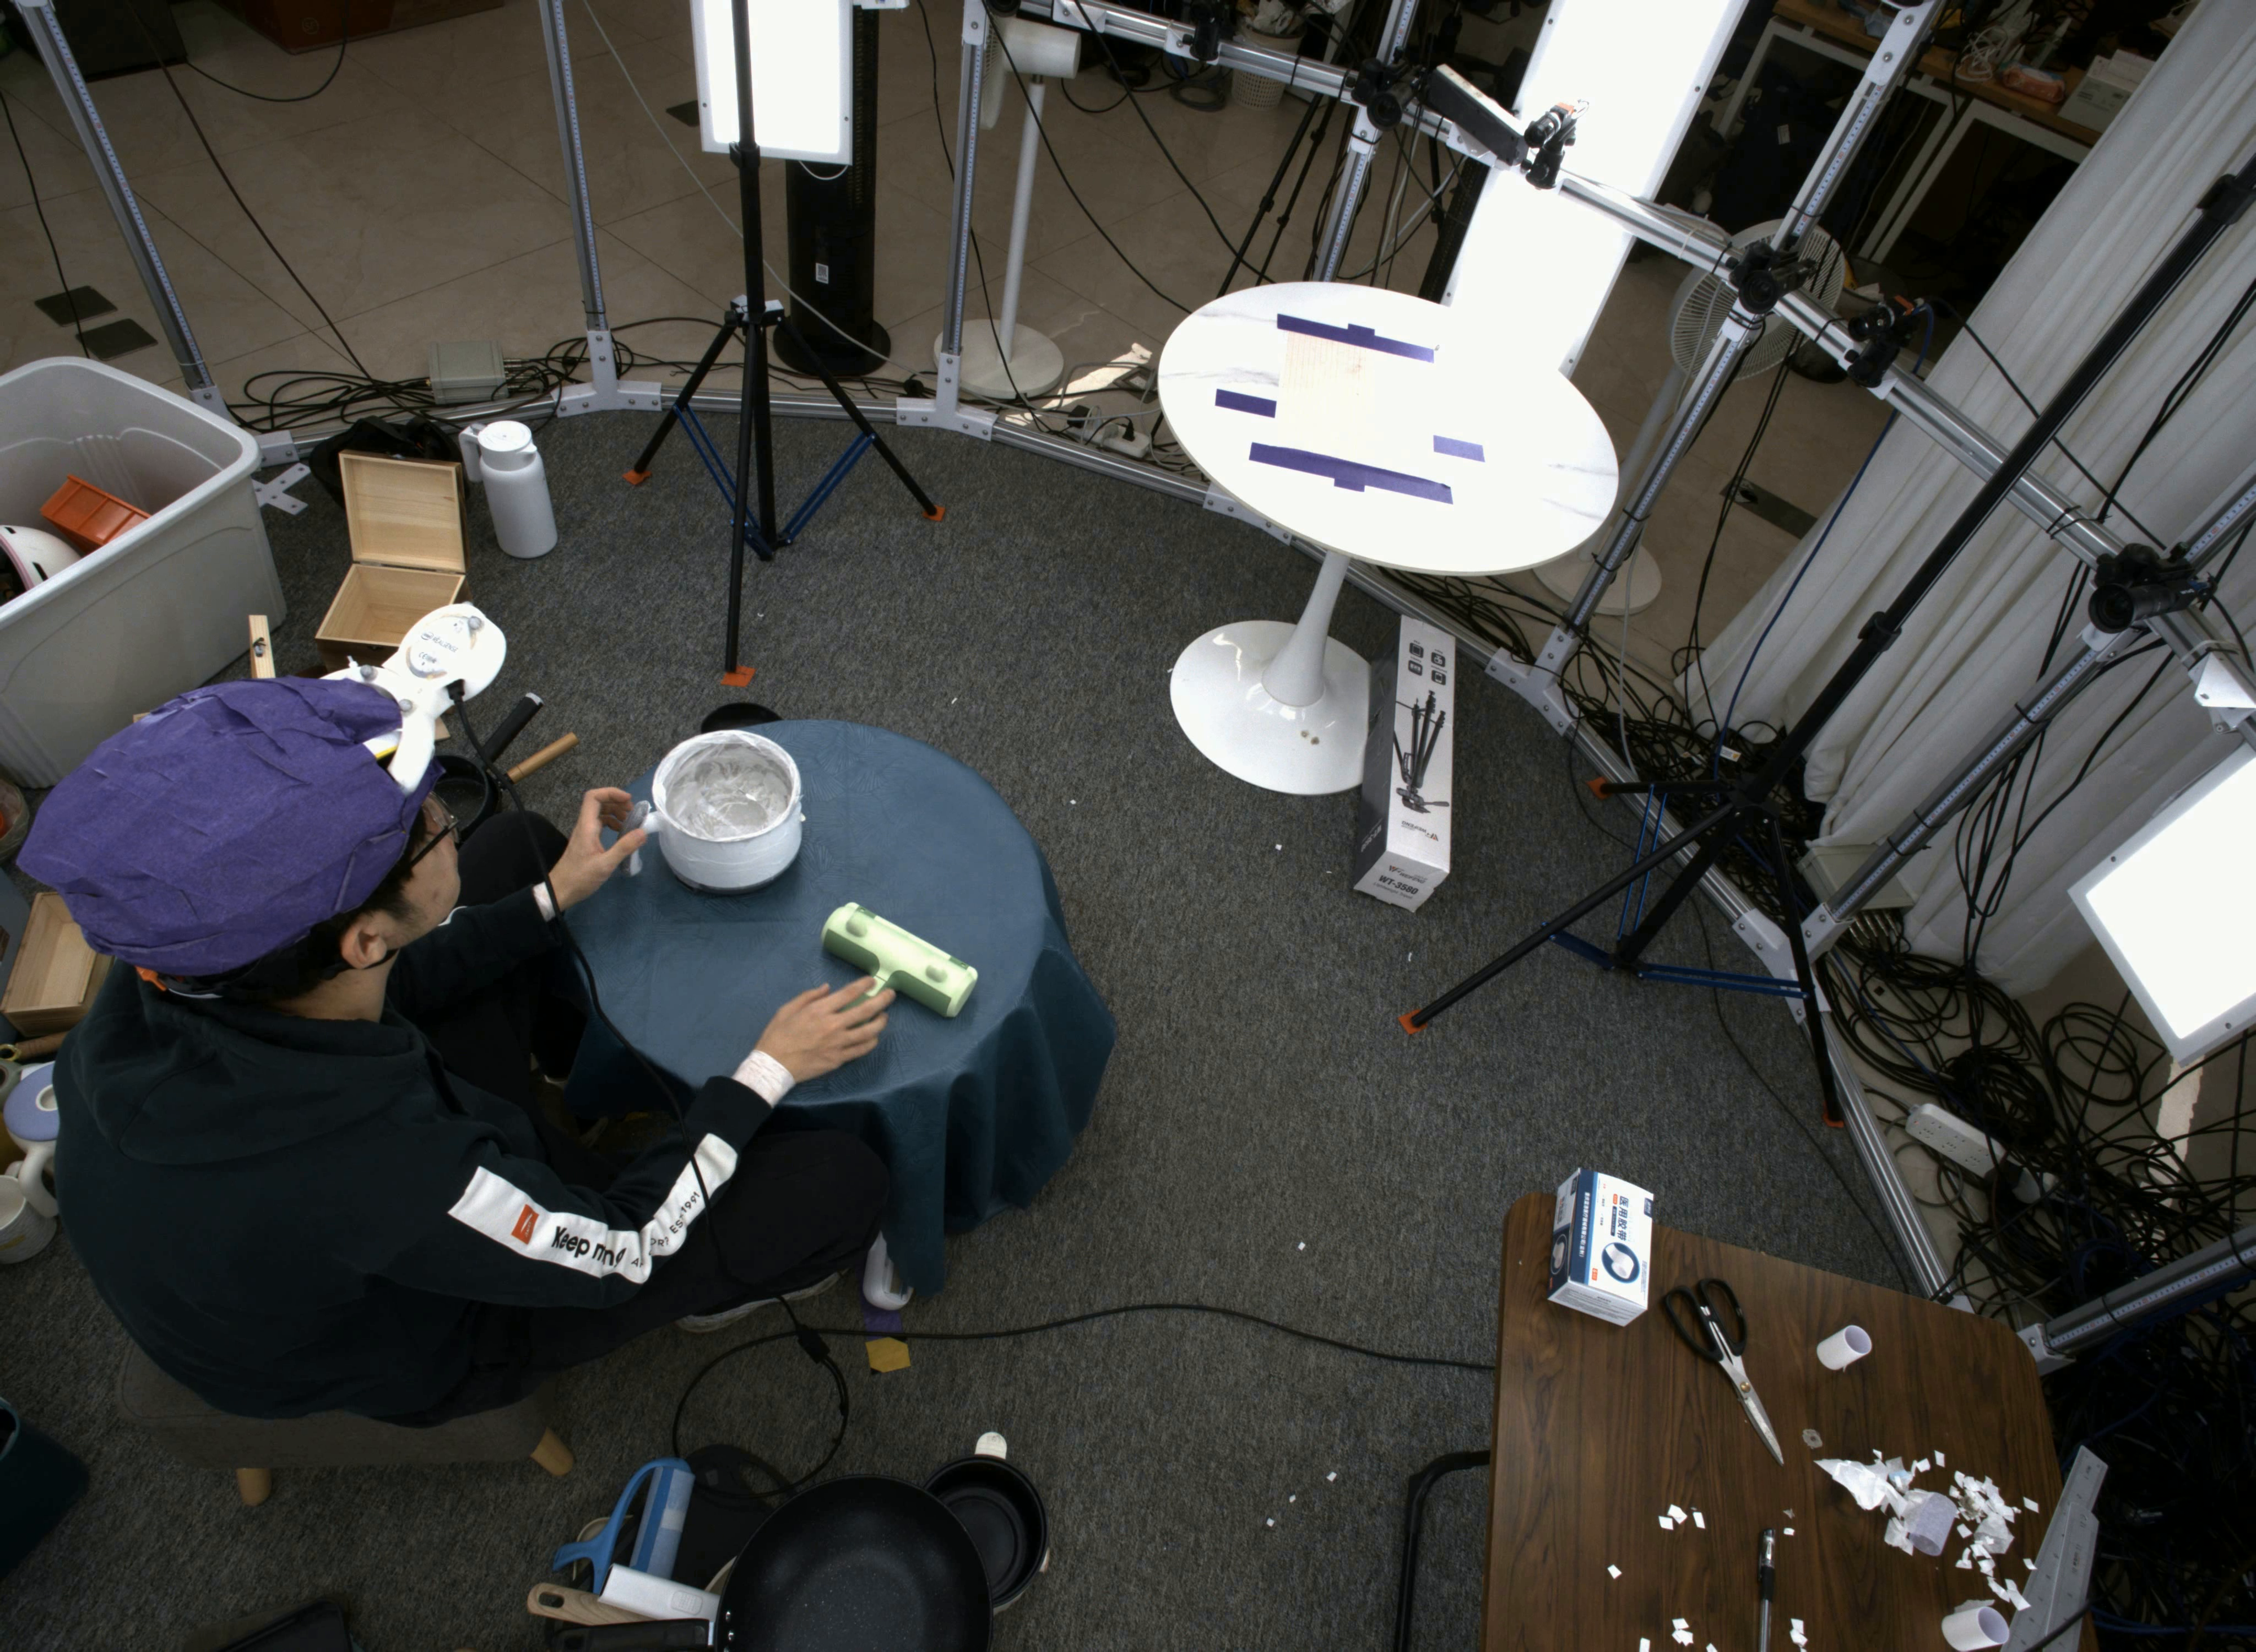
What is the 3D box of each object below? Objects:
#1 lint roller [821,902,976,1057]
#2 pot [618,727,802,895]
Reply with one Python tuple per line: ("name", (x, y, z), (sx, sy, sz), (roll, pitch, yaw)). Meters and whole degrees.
("lint roller", (-0.309, 0.192, 1.570), (0.196, 0.084, 0.182), (29, 47, 7))
("pot", (-0.527, -0.008, 1.619), (0.235, 0.139, 0.174), (-18, 59, -26))
